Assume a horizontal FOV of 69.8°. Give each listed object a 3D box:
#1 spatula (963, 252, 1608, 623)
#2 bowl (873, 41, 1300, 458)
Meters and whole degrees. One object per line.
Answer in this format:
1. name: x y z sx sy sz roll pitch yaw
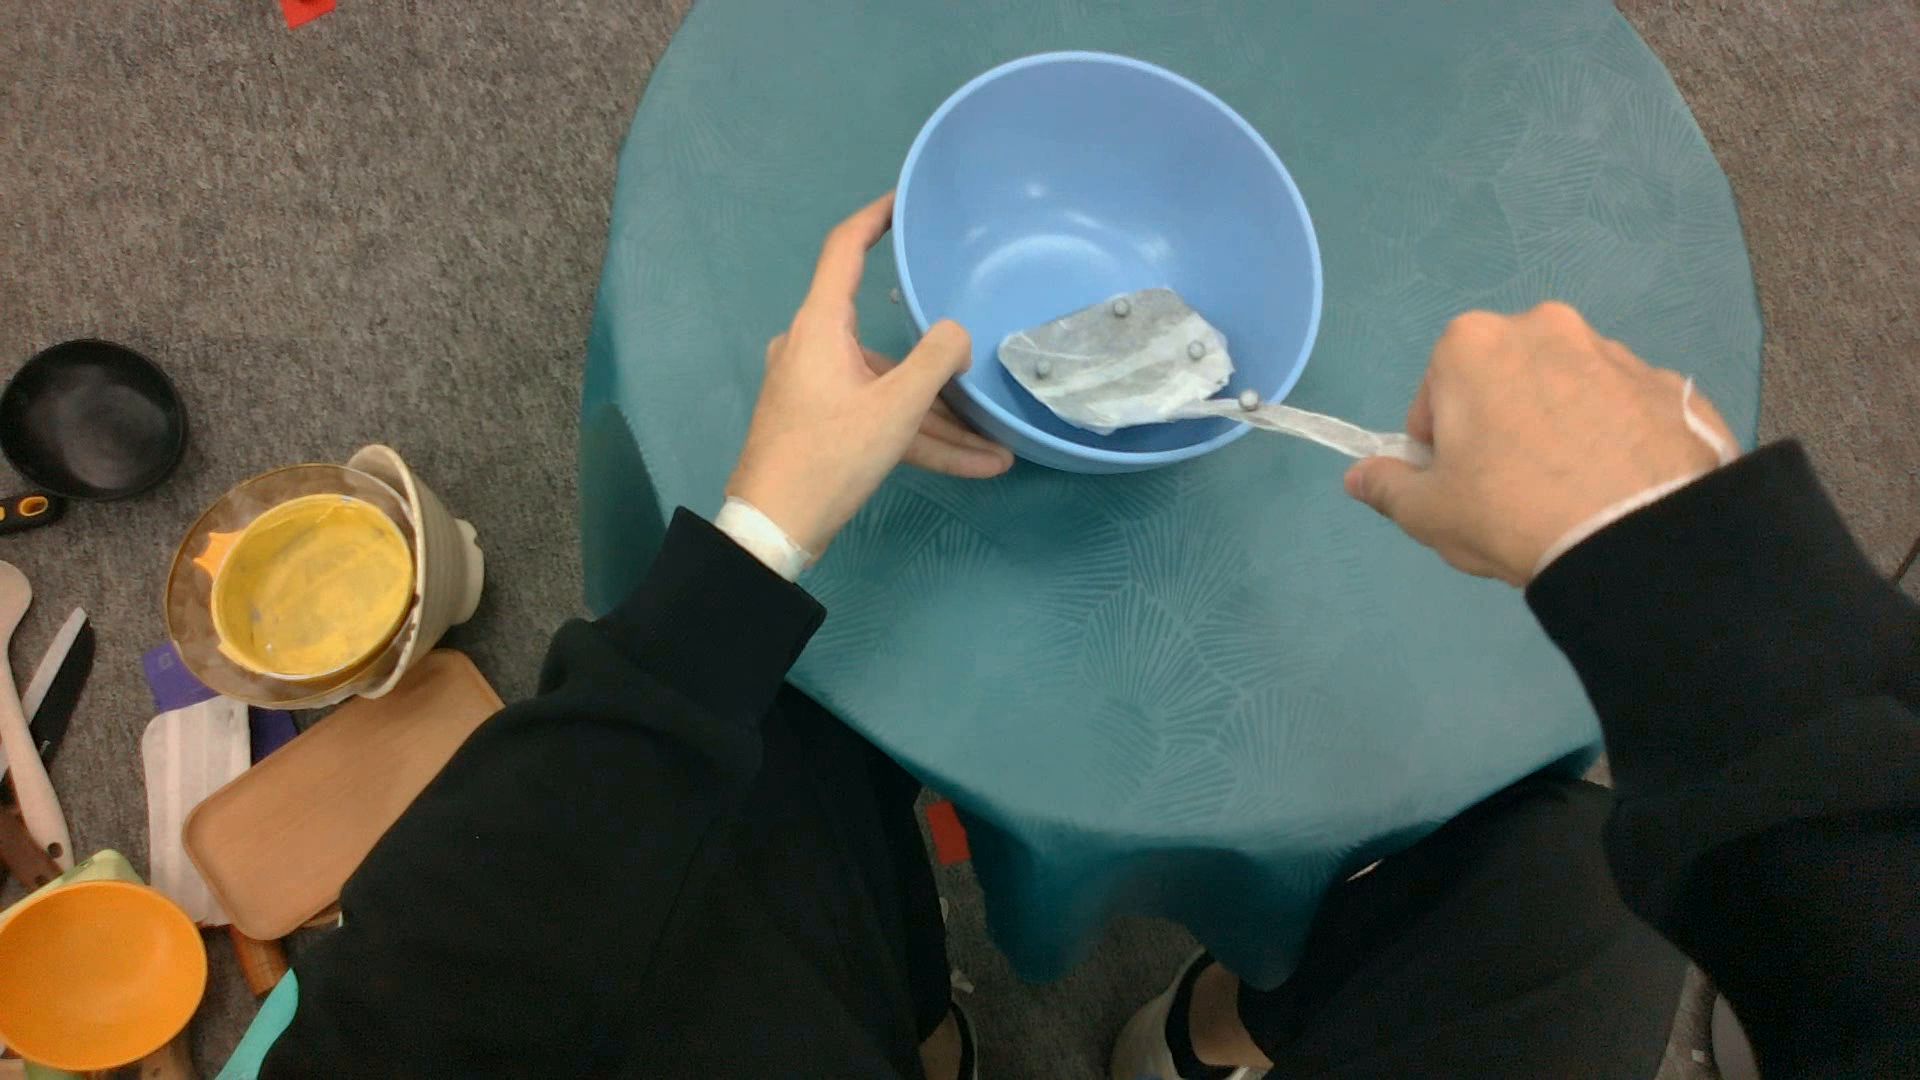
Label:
1. spatula: 0.110 -0.056 0.529 0.099 0.365 0.044 -22 115 -15
2. bowl: 0.048 -0.120 0.640 0.197 0.095 0.197 4 72 -14
